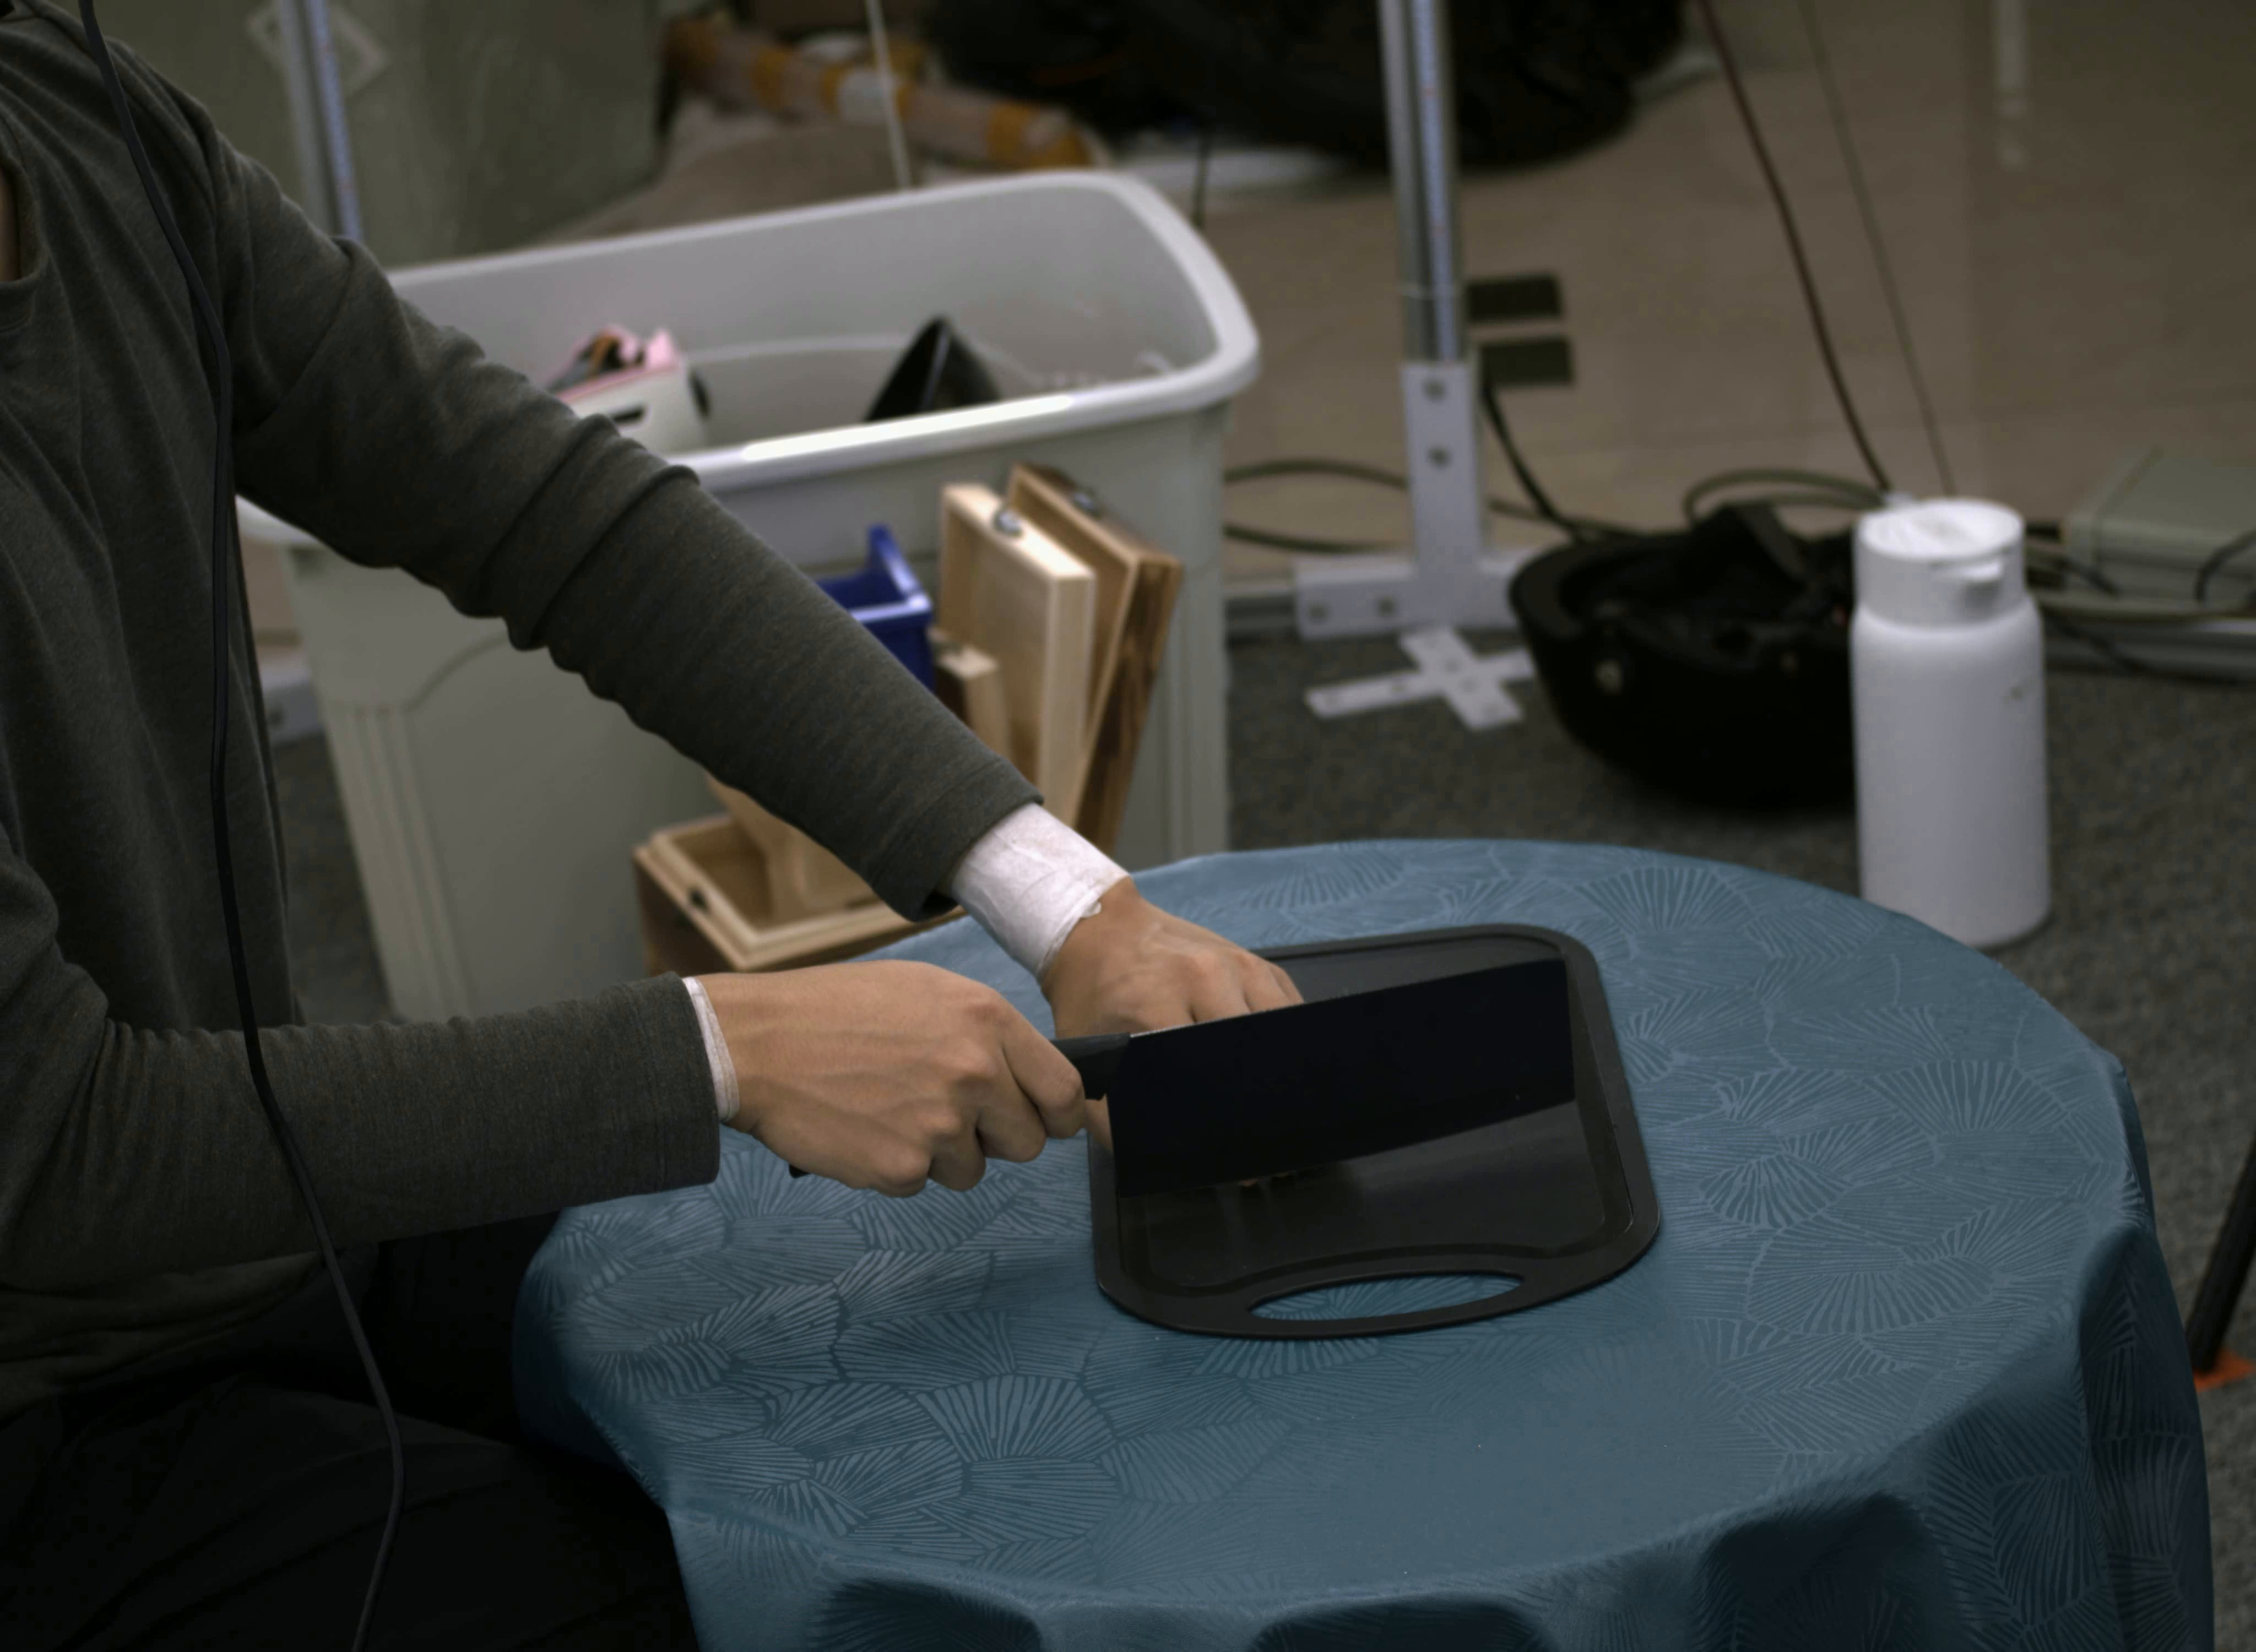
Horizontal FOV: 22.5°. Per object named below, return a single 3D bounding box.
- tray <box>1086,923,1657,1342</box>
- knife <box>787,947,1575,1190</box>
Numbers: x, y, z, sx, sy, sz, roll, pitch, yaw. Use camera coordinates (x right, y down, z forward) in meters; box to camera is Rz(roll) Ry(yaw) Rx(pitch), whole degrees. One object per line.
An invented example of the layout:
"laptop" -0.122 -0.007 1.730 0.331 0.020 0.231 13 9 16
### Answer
"tray" 0.089 0.113 2.178 0.211 0.010 0.320 -6 25 2
"knife" 0.022 0.098 2.111 0.301 0.082 0.020 -6 20 -12
